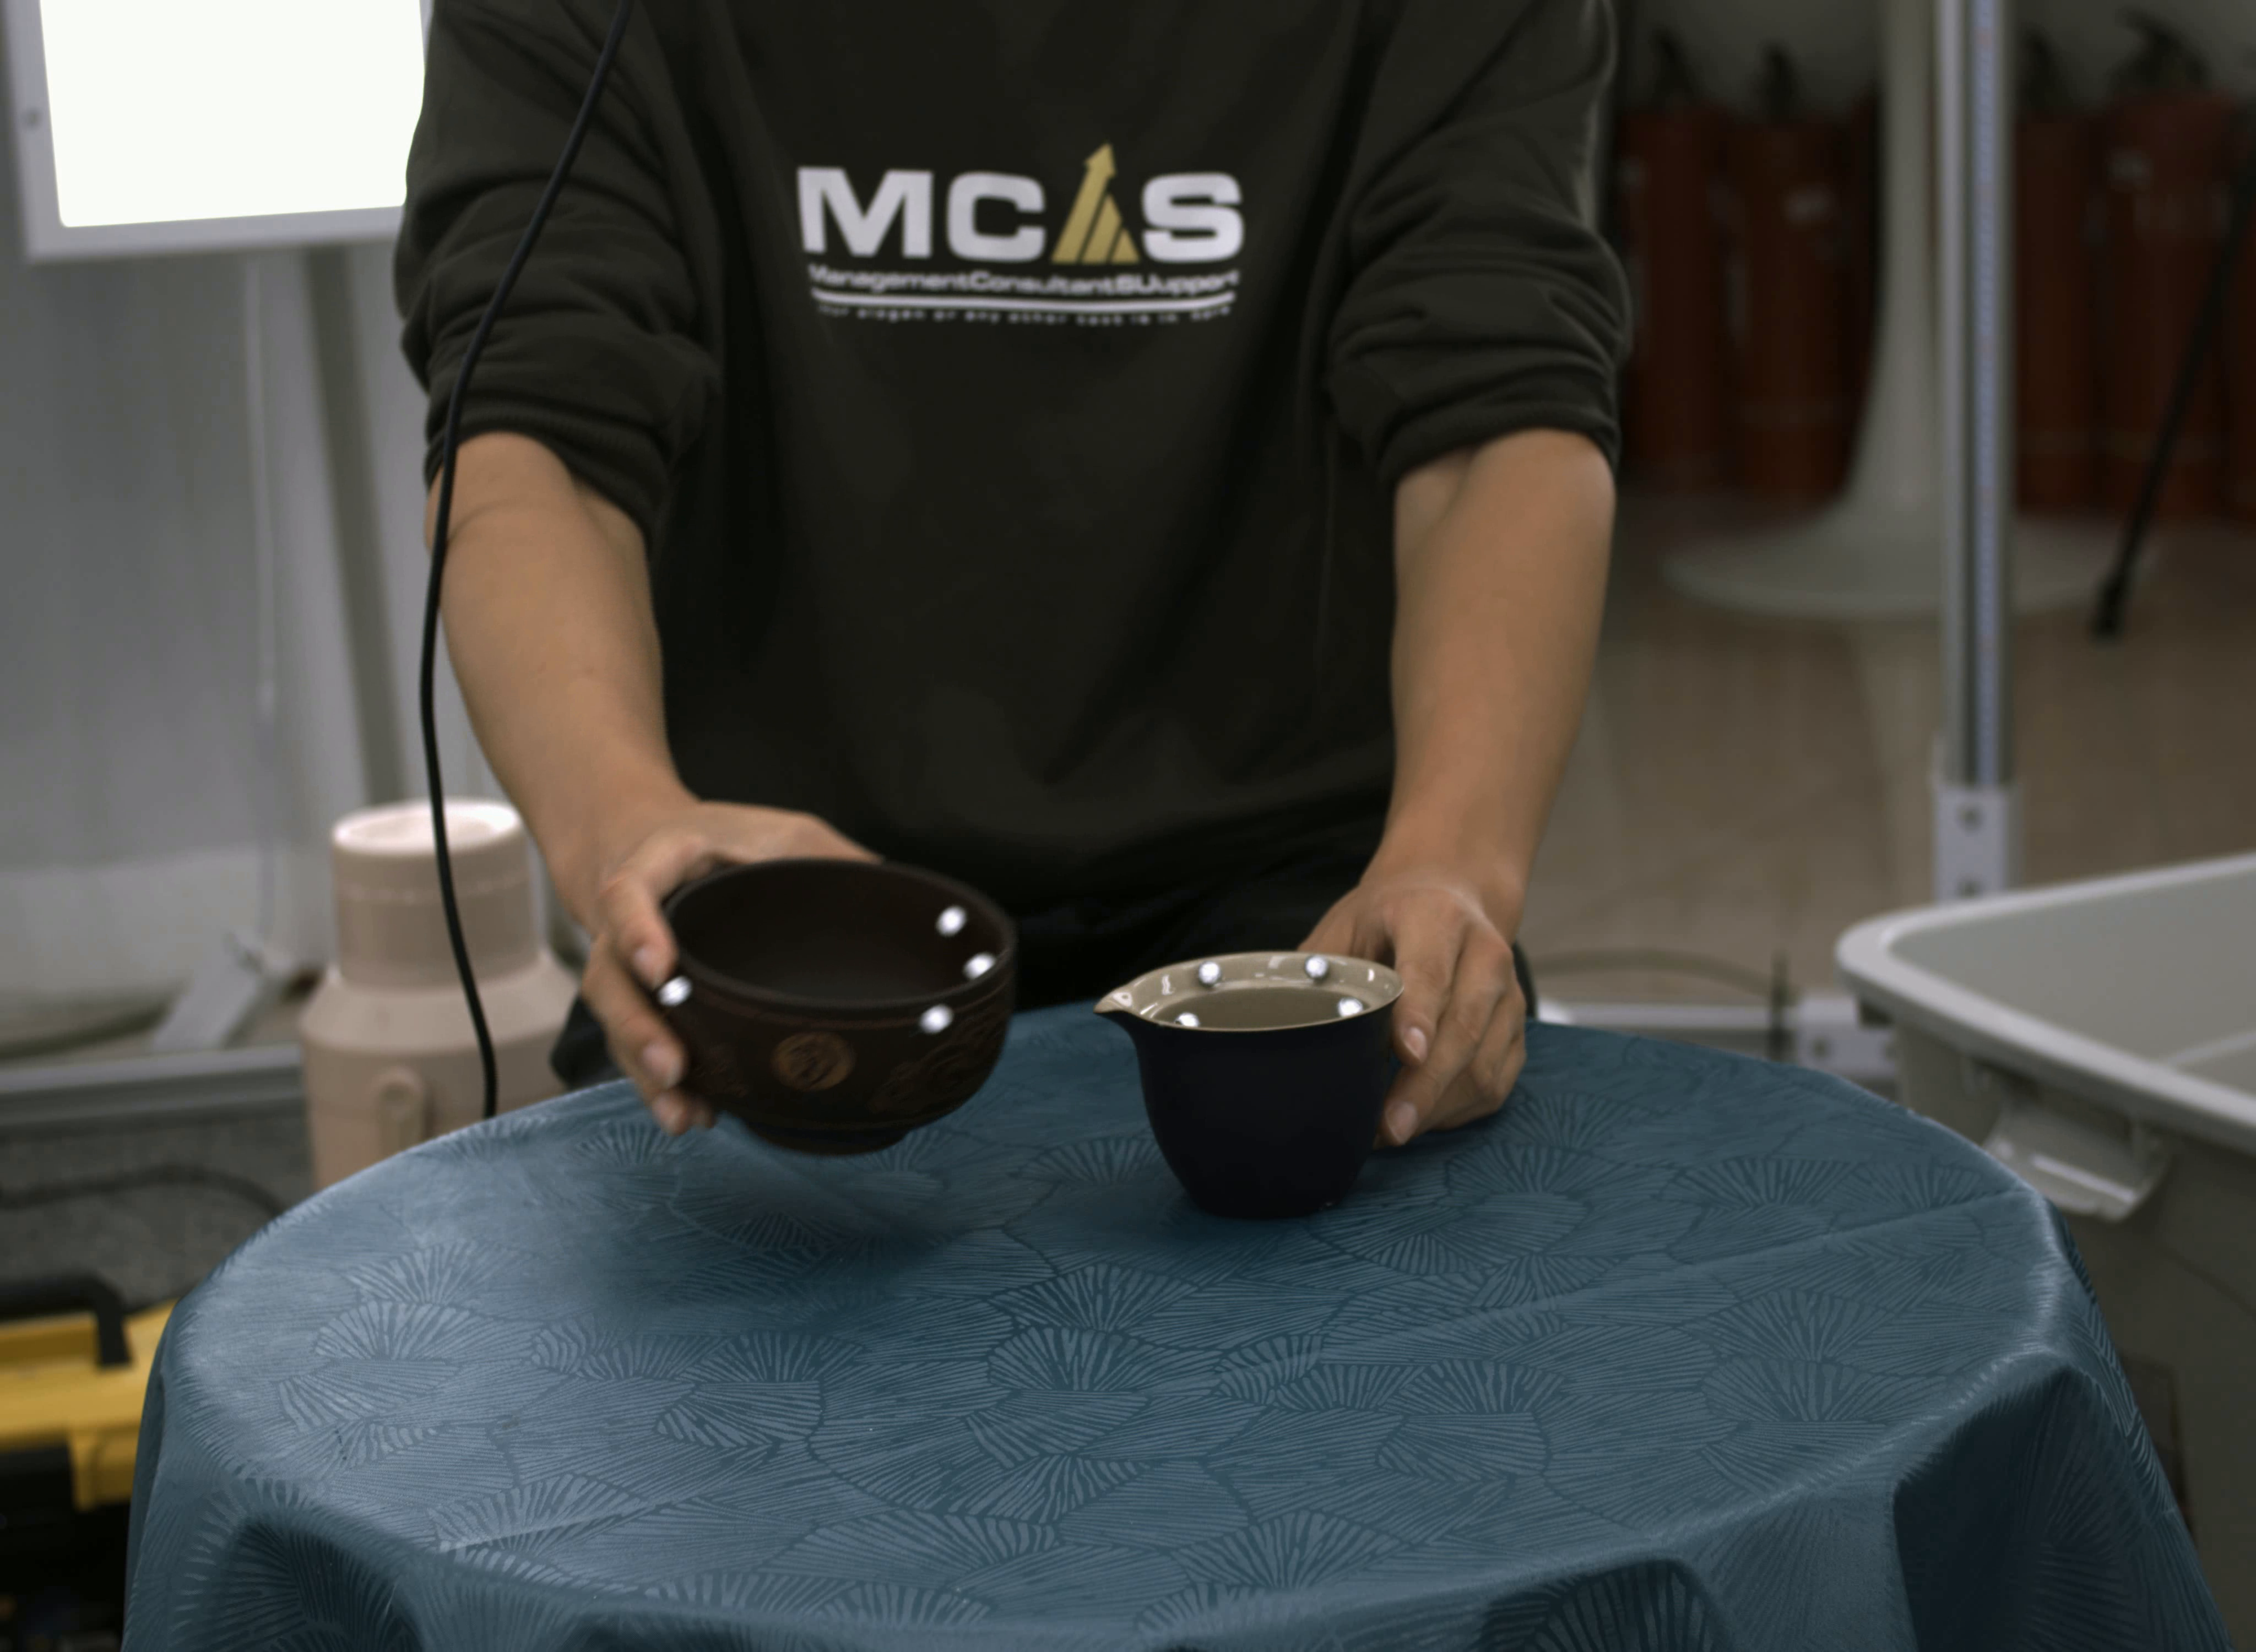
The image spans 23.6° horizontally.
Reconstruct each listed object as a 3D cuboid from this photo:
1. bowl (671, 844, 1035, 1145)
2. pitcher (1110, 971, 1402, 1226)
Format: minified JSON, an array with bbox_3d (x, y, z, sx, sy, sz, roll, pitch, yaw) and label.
[{"bbox_3d":[-0.089,0.059,1.735,0.116,0.070,0.118,3,21,-2],"label":"bowl"},{"bbox_3d":[0.044,0.088,1.749,0.095,0.072,0.083,-3,15,7],"label":"pitcher"}]
